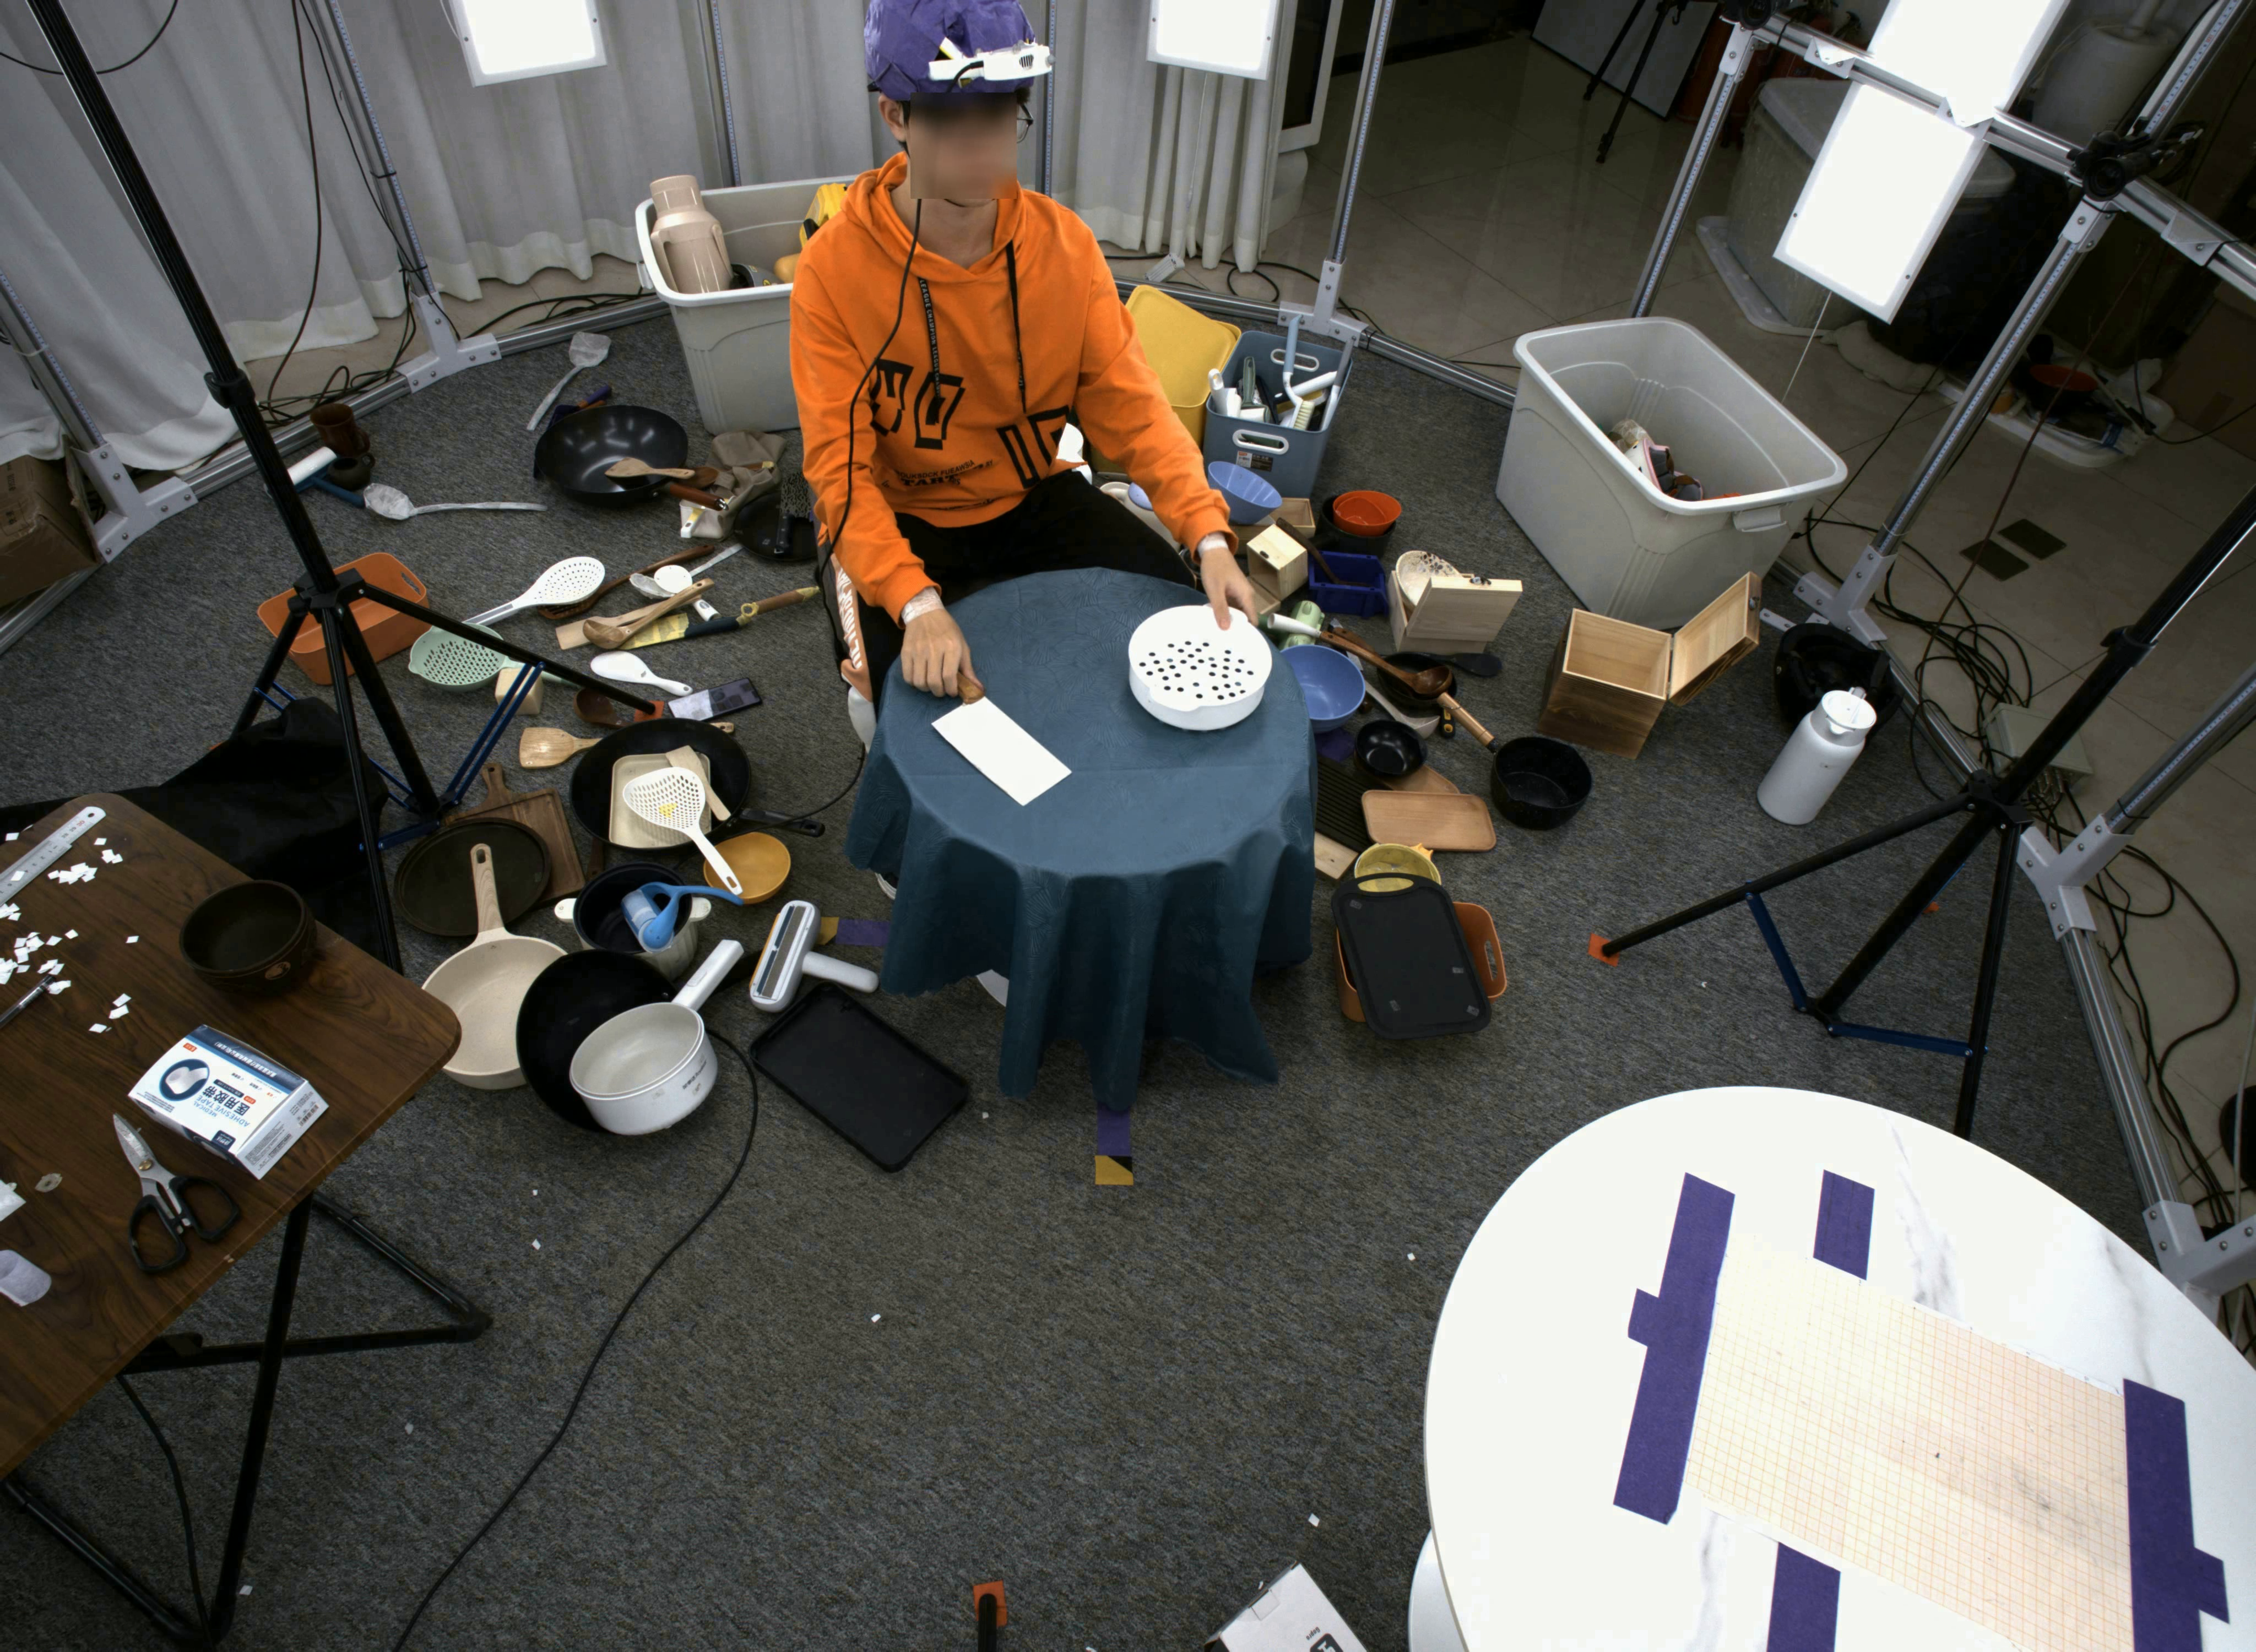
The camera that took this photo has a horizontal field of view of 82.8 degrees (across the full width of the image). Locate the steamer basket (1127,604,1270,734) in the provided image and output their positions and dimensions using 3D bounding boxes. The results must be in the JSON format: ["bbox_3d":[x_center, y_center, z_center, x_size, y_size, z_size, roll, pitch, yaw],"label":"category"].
[{"bbox_3d":[0.098,-0.220,1.821,0.203,0.067,0.235,20,53,13],"label":"steamer basket"}]

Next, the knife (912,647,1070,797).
[{"bbox_3d":[-0.211,-0.142,1.768,0.094,0.020,0.310,-35,62,-28],"label":"knife"}]
